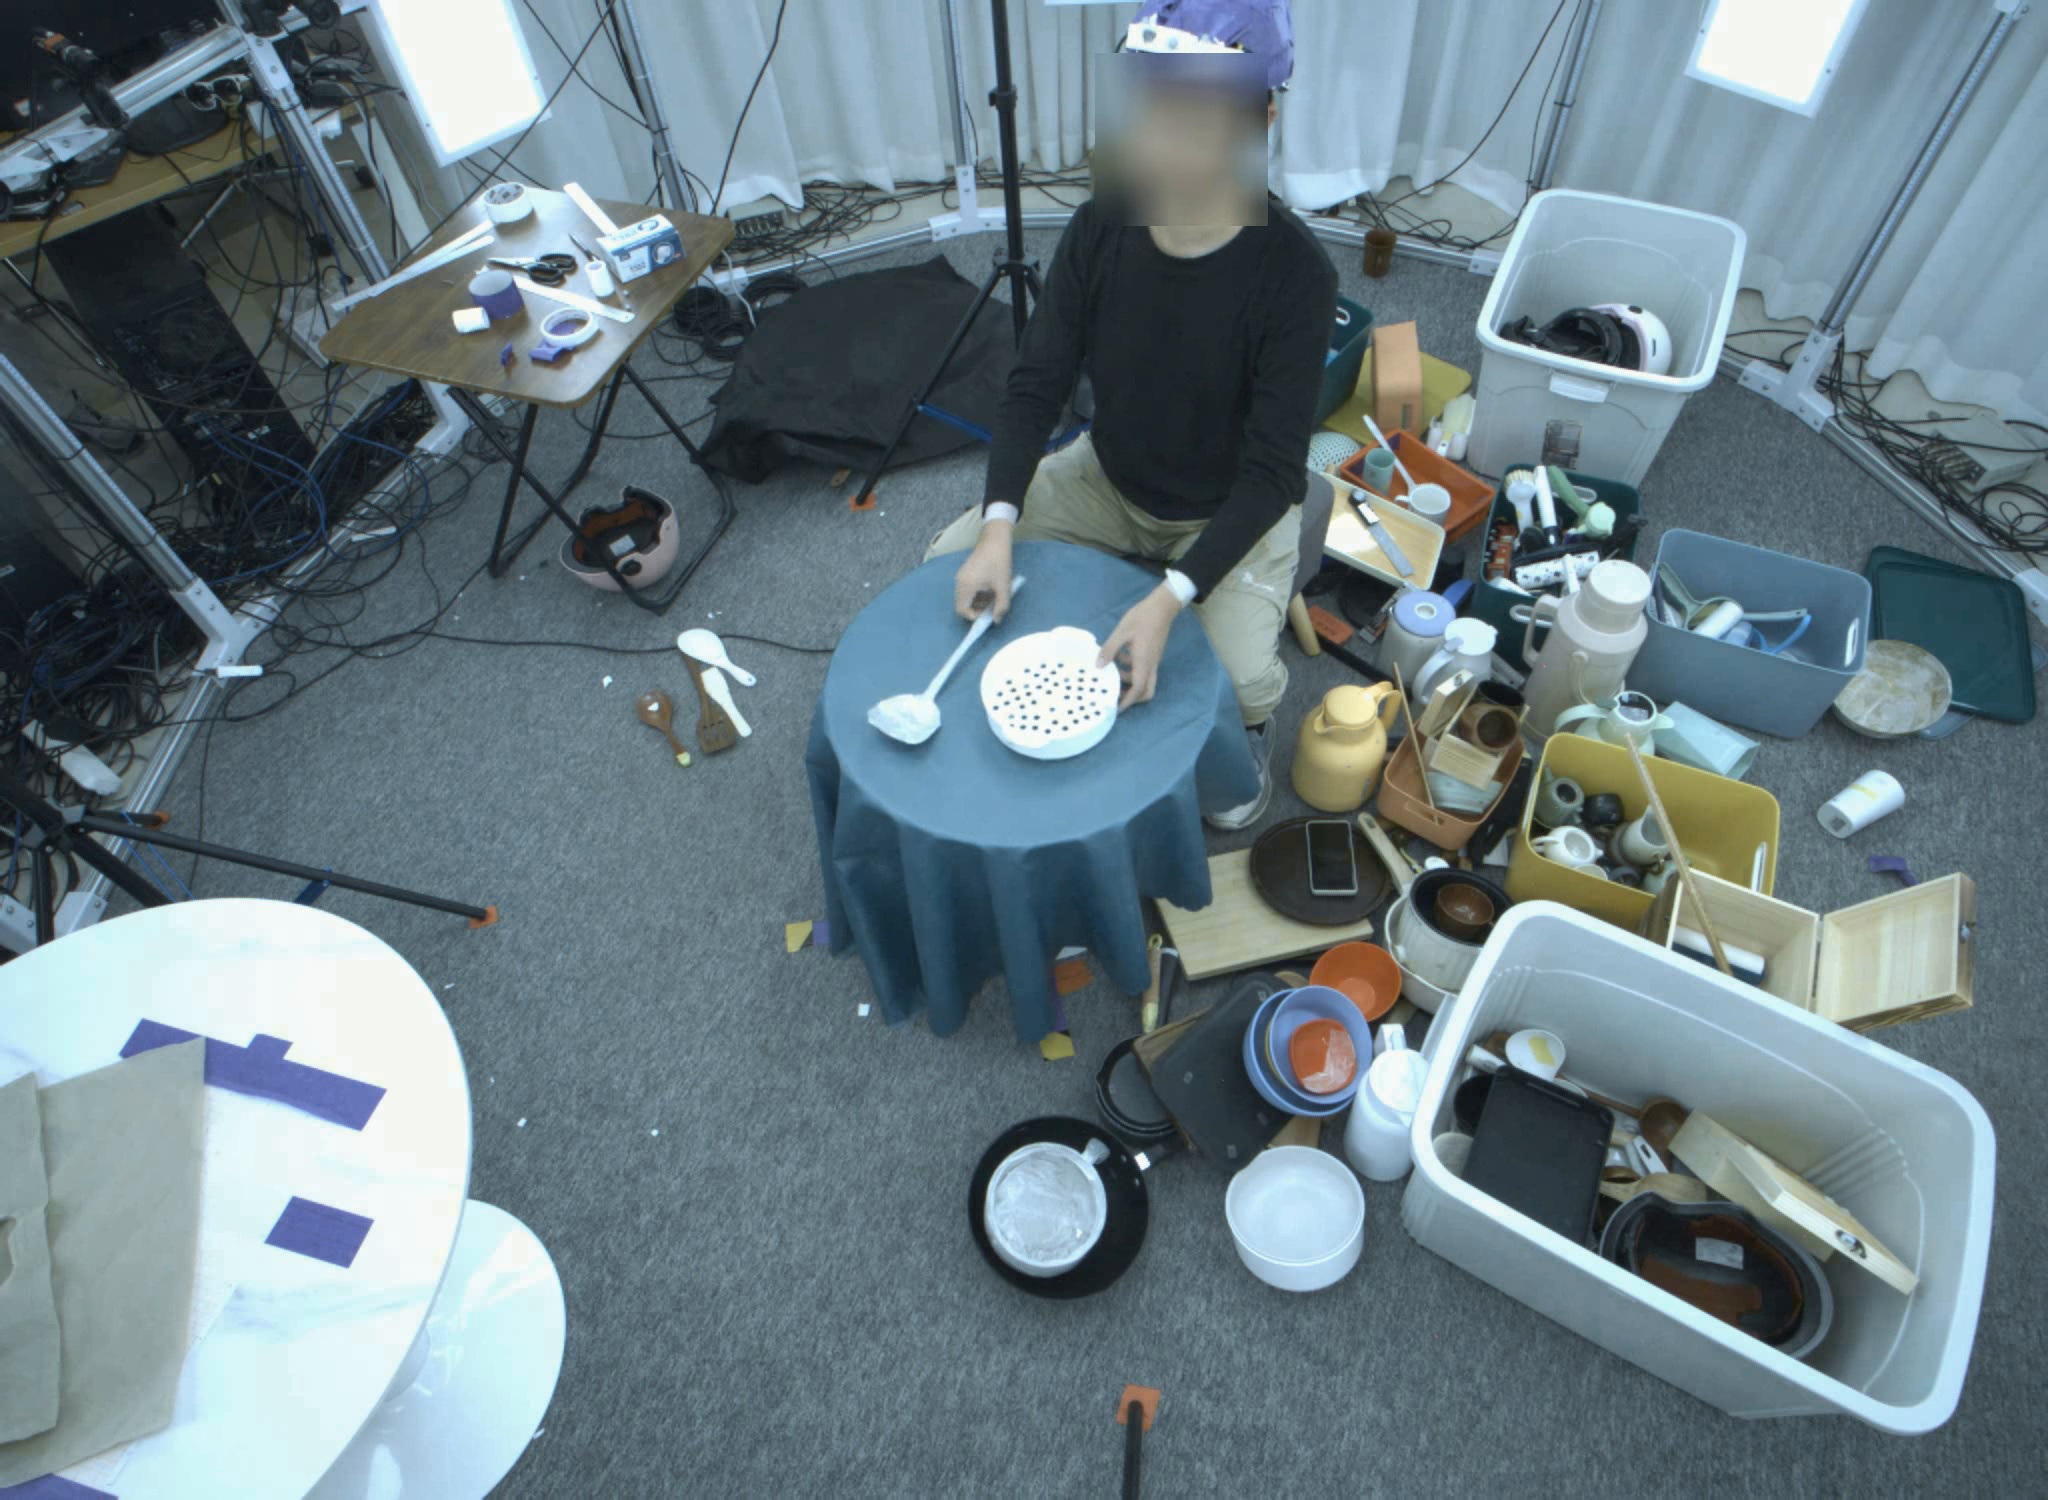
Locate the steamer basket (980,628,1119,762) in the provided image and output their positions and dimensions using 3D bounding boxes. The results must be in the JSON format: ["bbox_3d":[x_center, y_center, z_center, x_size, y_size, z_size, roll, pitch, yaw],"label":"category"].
[{"bbox_3d":[0.037,-0.076,1.797,0.200,0.070,0.230,17,56,13],"label":"steamer basket"}]

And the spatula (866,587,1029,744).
[{"bbox_3d":[-0.100,-0.143,1.863,0.097,0.045,0.366,28,63,16],"label":"spatula"}]
